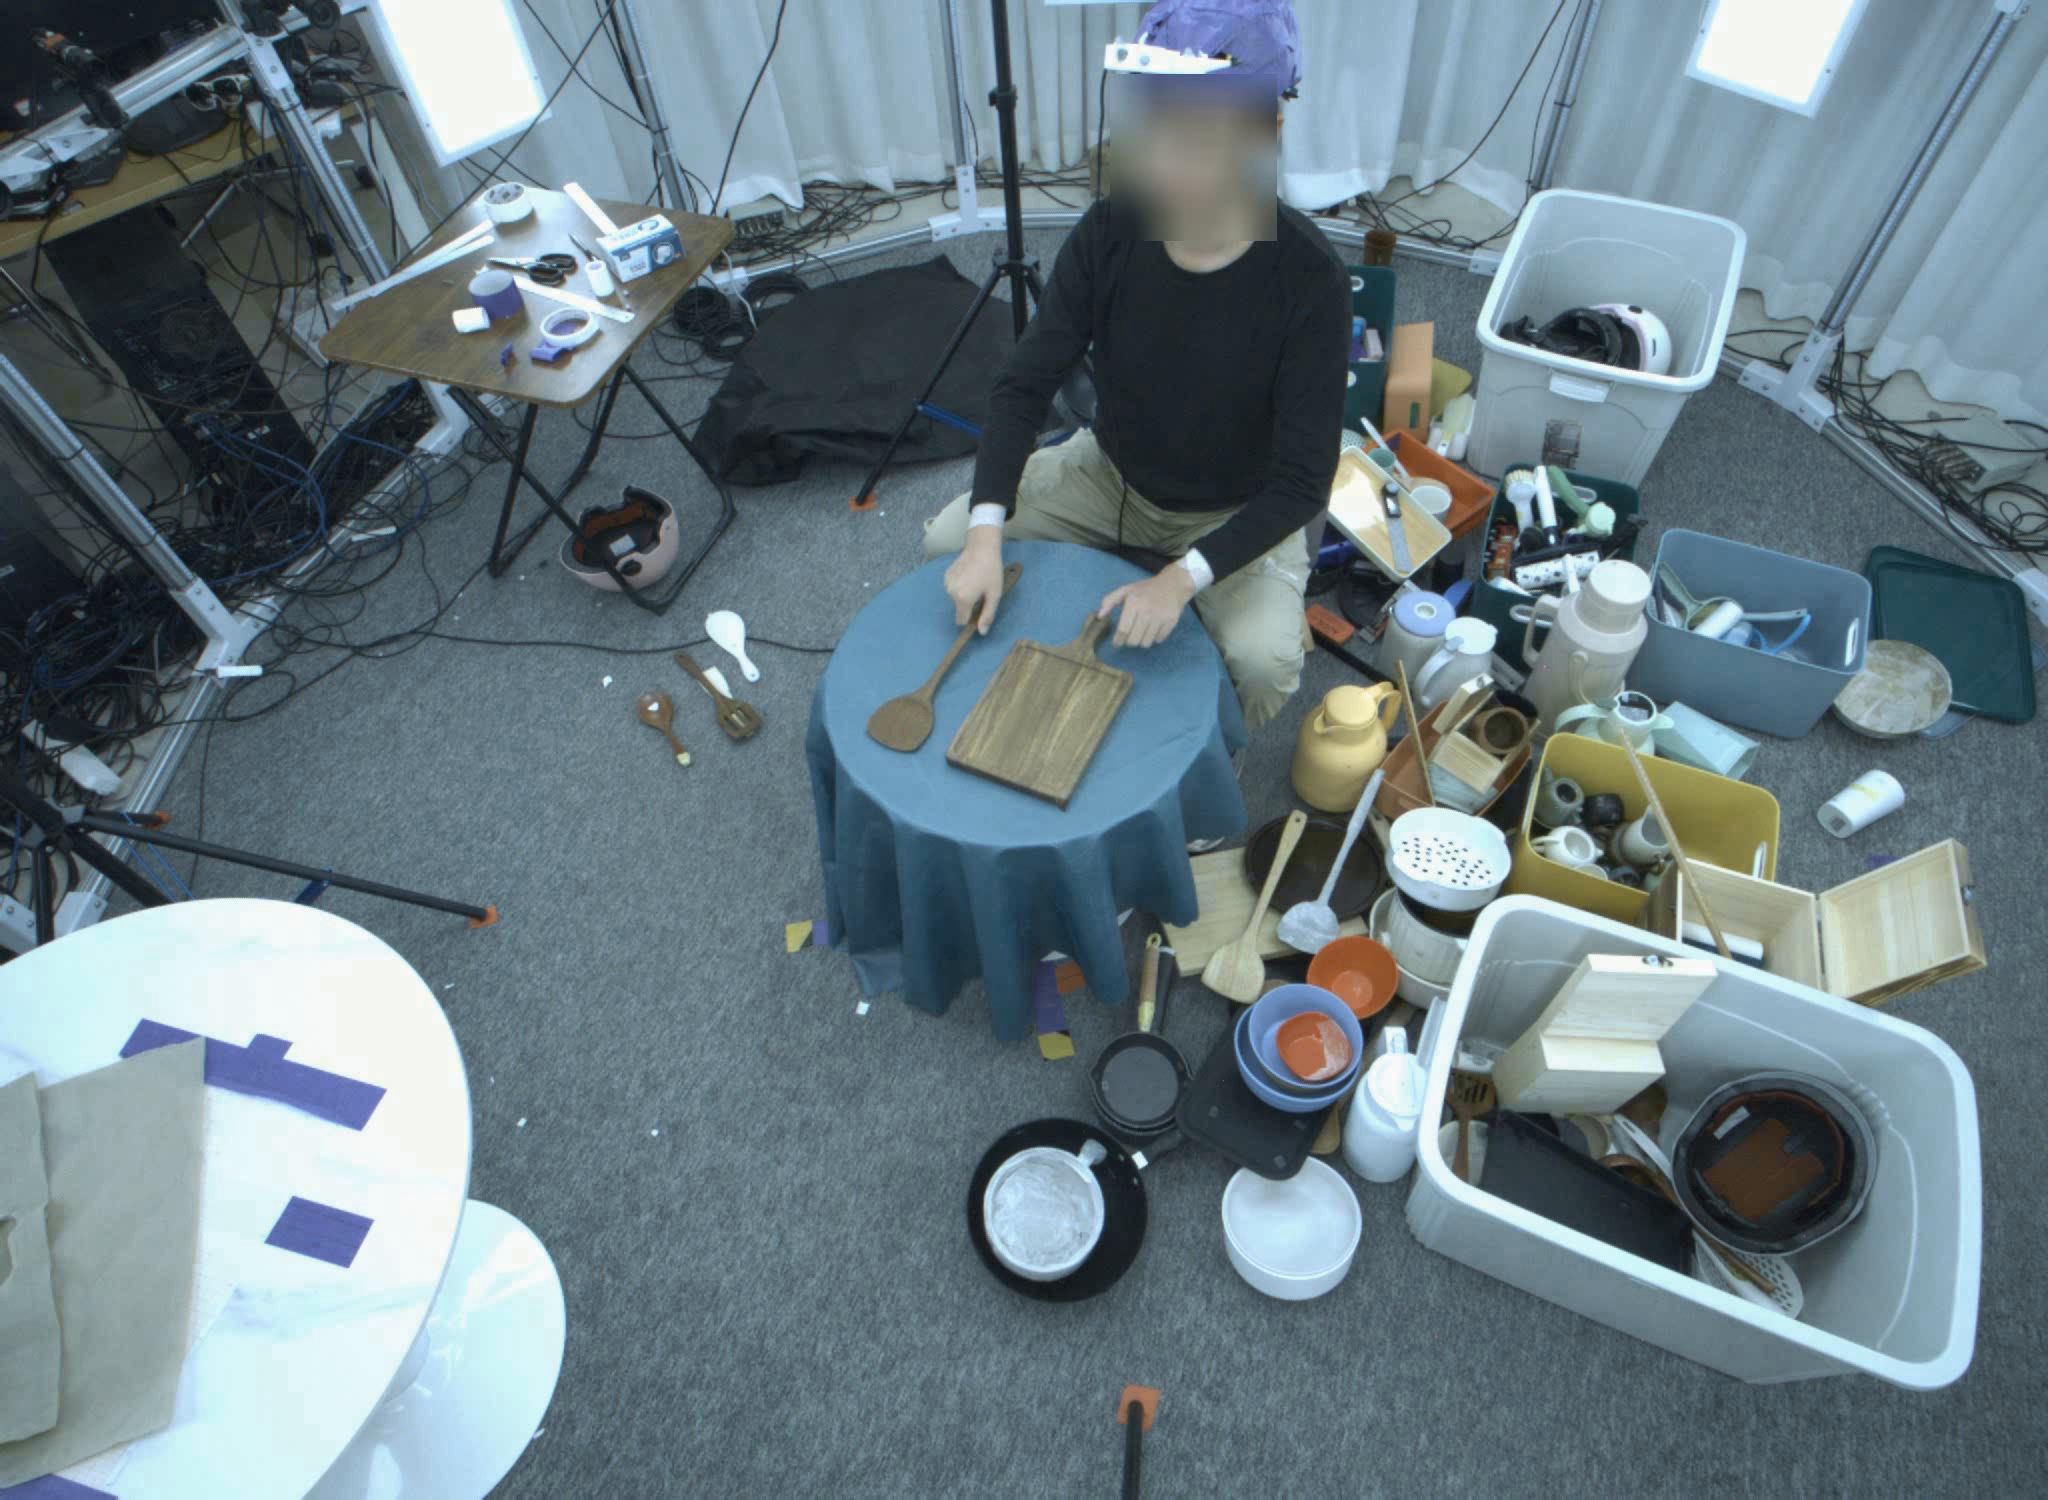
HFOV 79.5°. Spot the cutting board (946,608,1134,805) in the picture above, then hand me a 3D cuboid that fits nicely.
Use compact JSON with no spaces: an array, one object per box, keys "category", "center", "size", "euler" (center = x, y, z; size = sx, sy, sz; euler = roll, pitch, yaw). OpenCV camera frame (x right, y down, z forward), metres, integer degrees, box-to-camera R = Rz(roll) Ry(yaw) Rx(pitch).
[{"category":"cutting board","center":[0.047,-0.084,1.833],"size":[0.199,0.023,0.352],"euler":[20,58,15]}]

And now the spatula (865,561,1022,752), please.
[{"category":"spatula","center":[-0.107,-0.153,1.874],"size":[0.095,0.016,0.386],"euler":[26,66,17]}]
